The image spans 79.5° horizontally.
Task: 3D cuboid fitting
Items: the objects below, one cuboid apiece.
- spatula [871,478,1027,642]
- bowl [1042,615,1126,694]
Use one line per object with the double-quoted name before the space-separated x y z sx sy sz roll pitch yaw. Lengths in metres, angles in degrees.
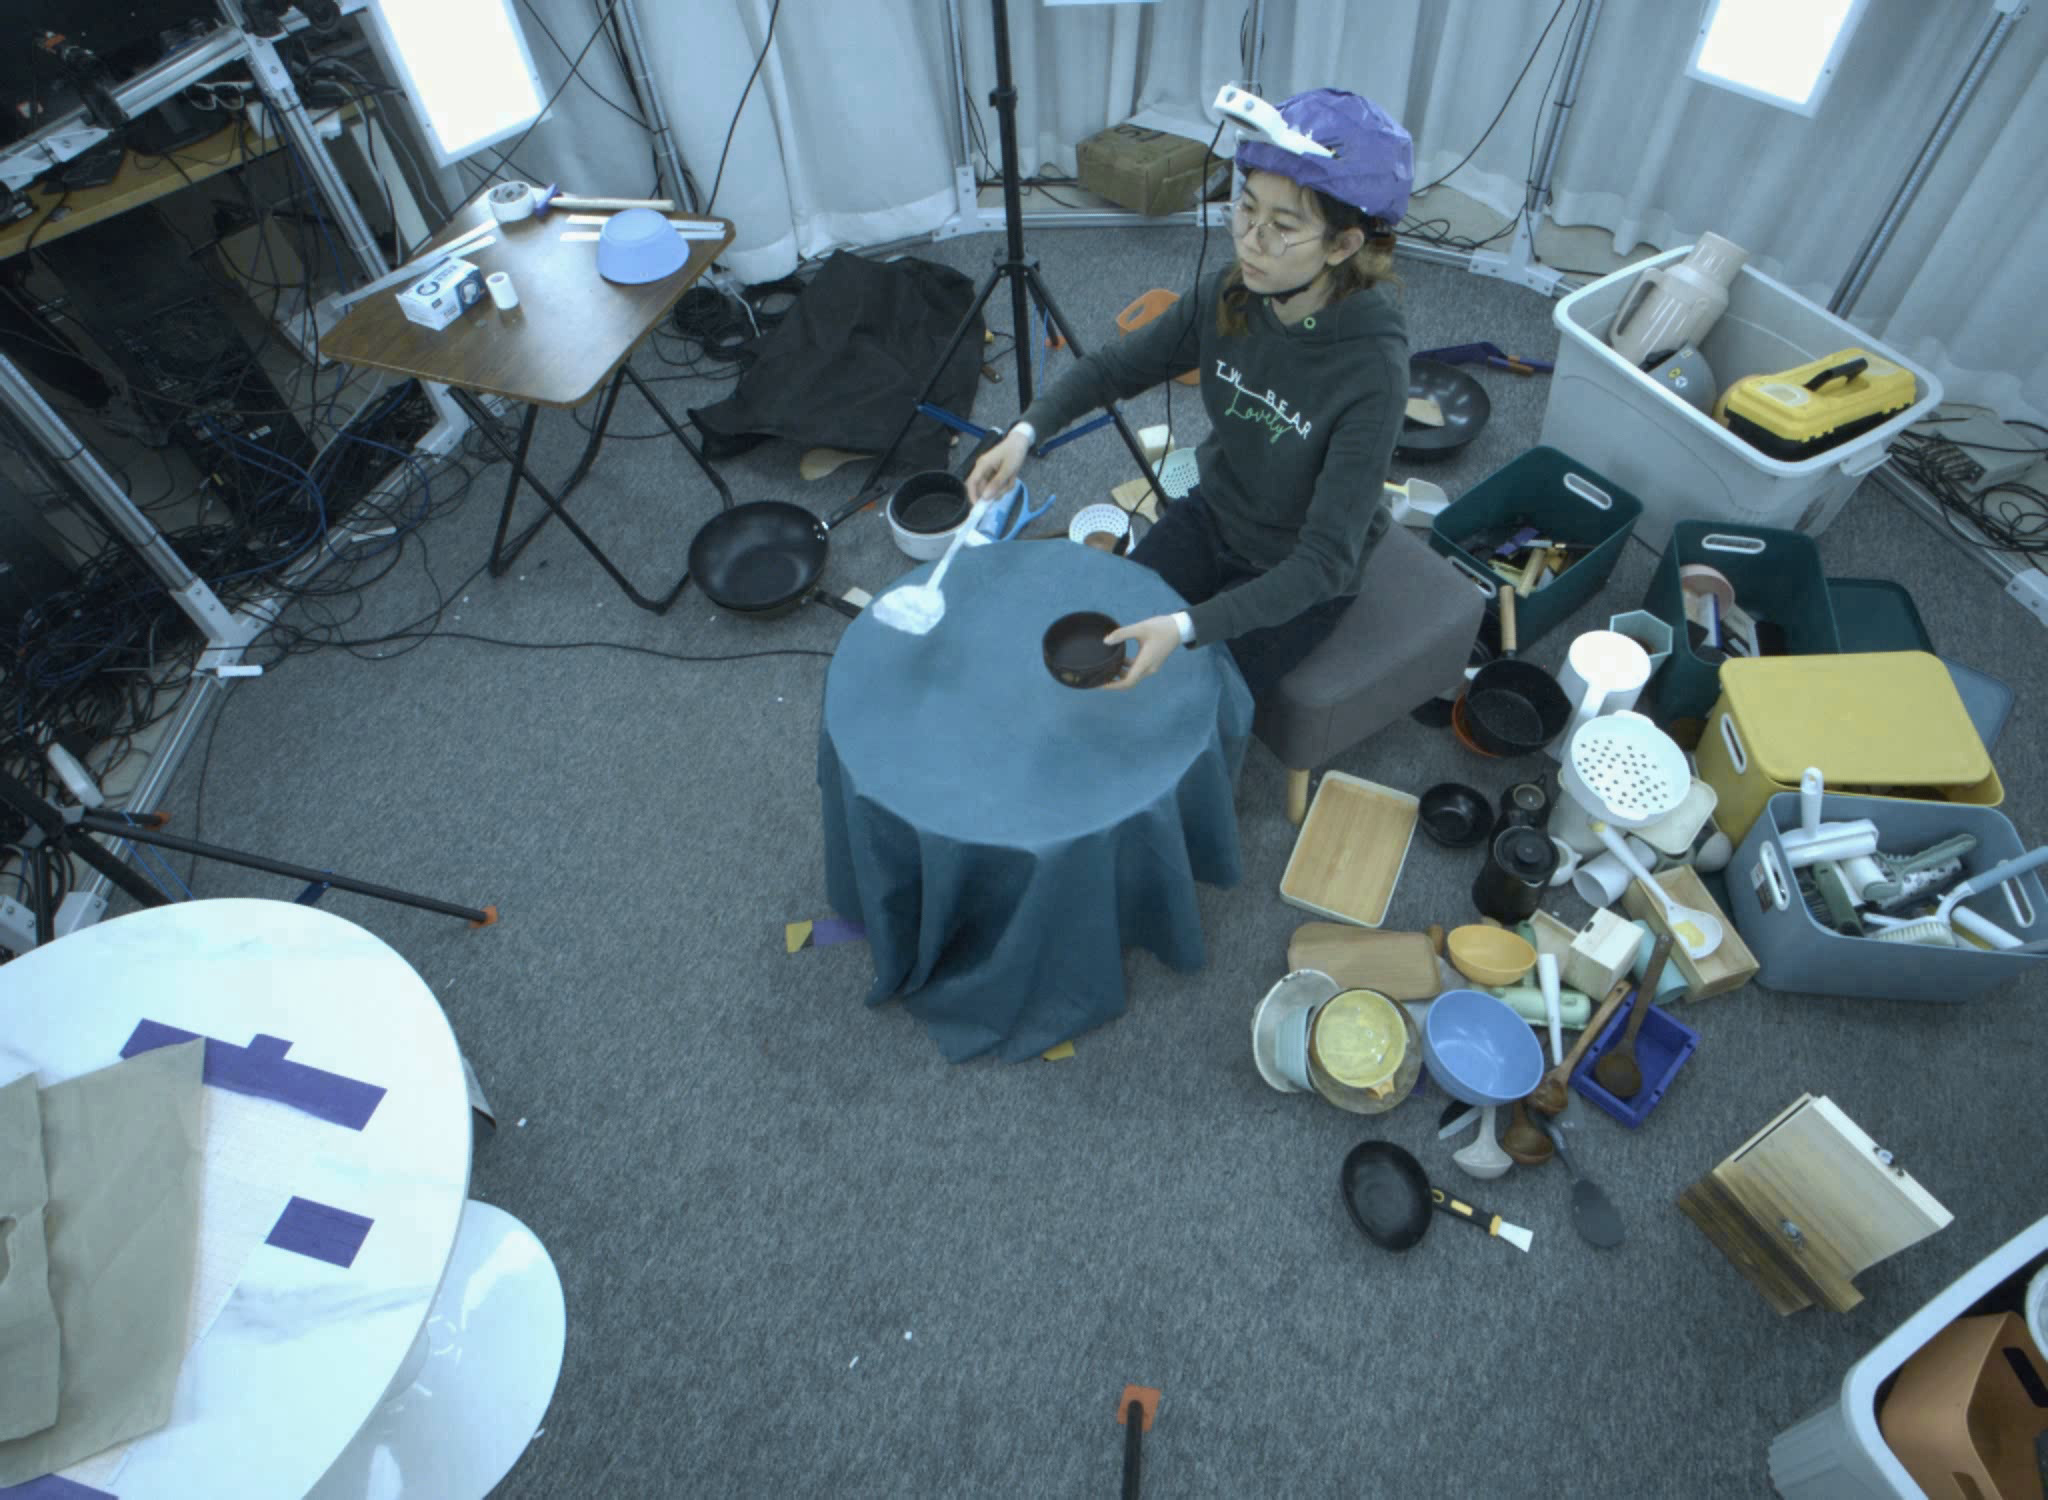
"spatula" -0.100 -0.303 1.863 0.097 0.045 0.365 26 69 16
"bowl" 0.086 -0.127 1.734 0.118 0.071 0.117 -2 52 4
